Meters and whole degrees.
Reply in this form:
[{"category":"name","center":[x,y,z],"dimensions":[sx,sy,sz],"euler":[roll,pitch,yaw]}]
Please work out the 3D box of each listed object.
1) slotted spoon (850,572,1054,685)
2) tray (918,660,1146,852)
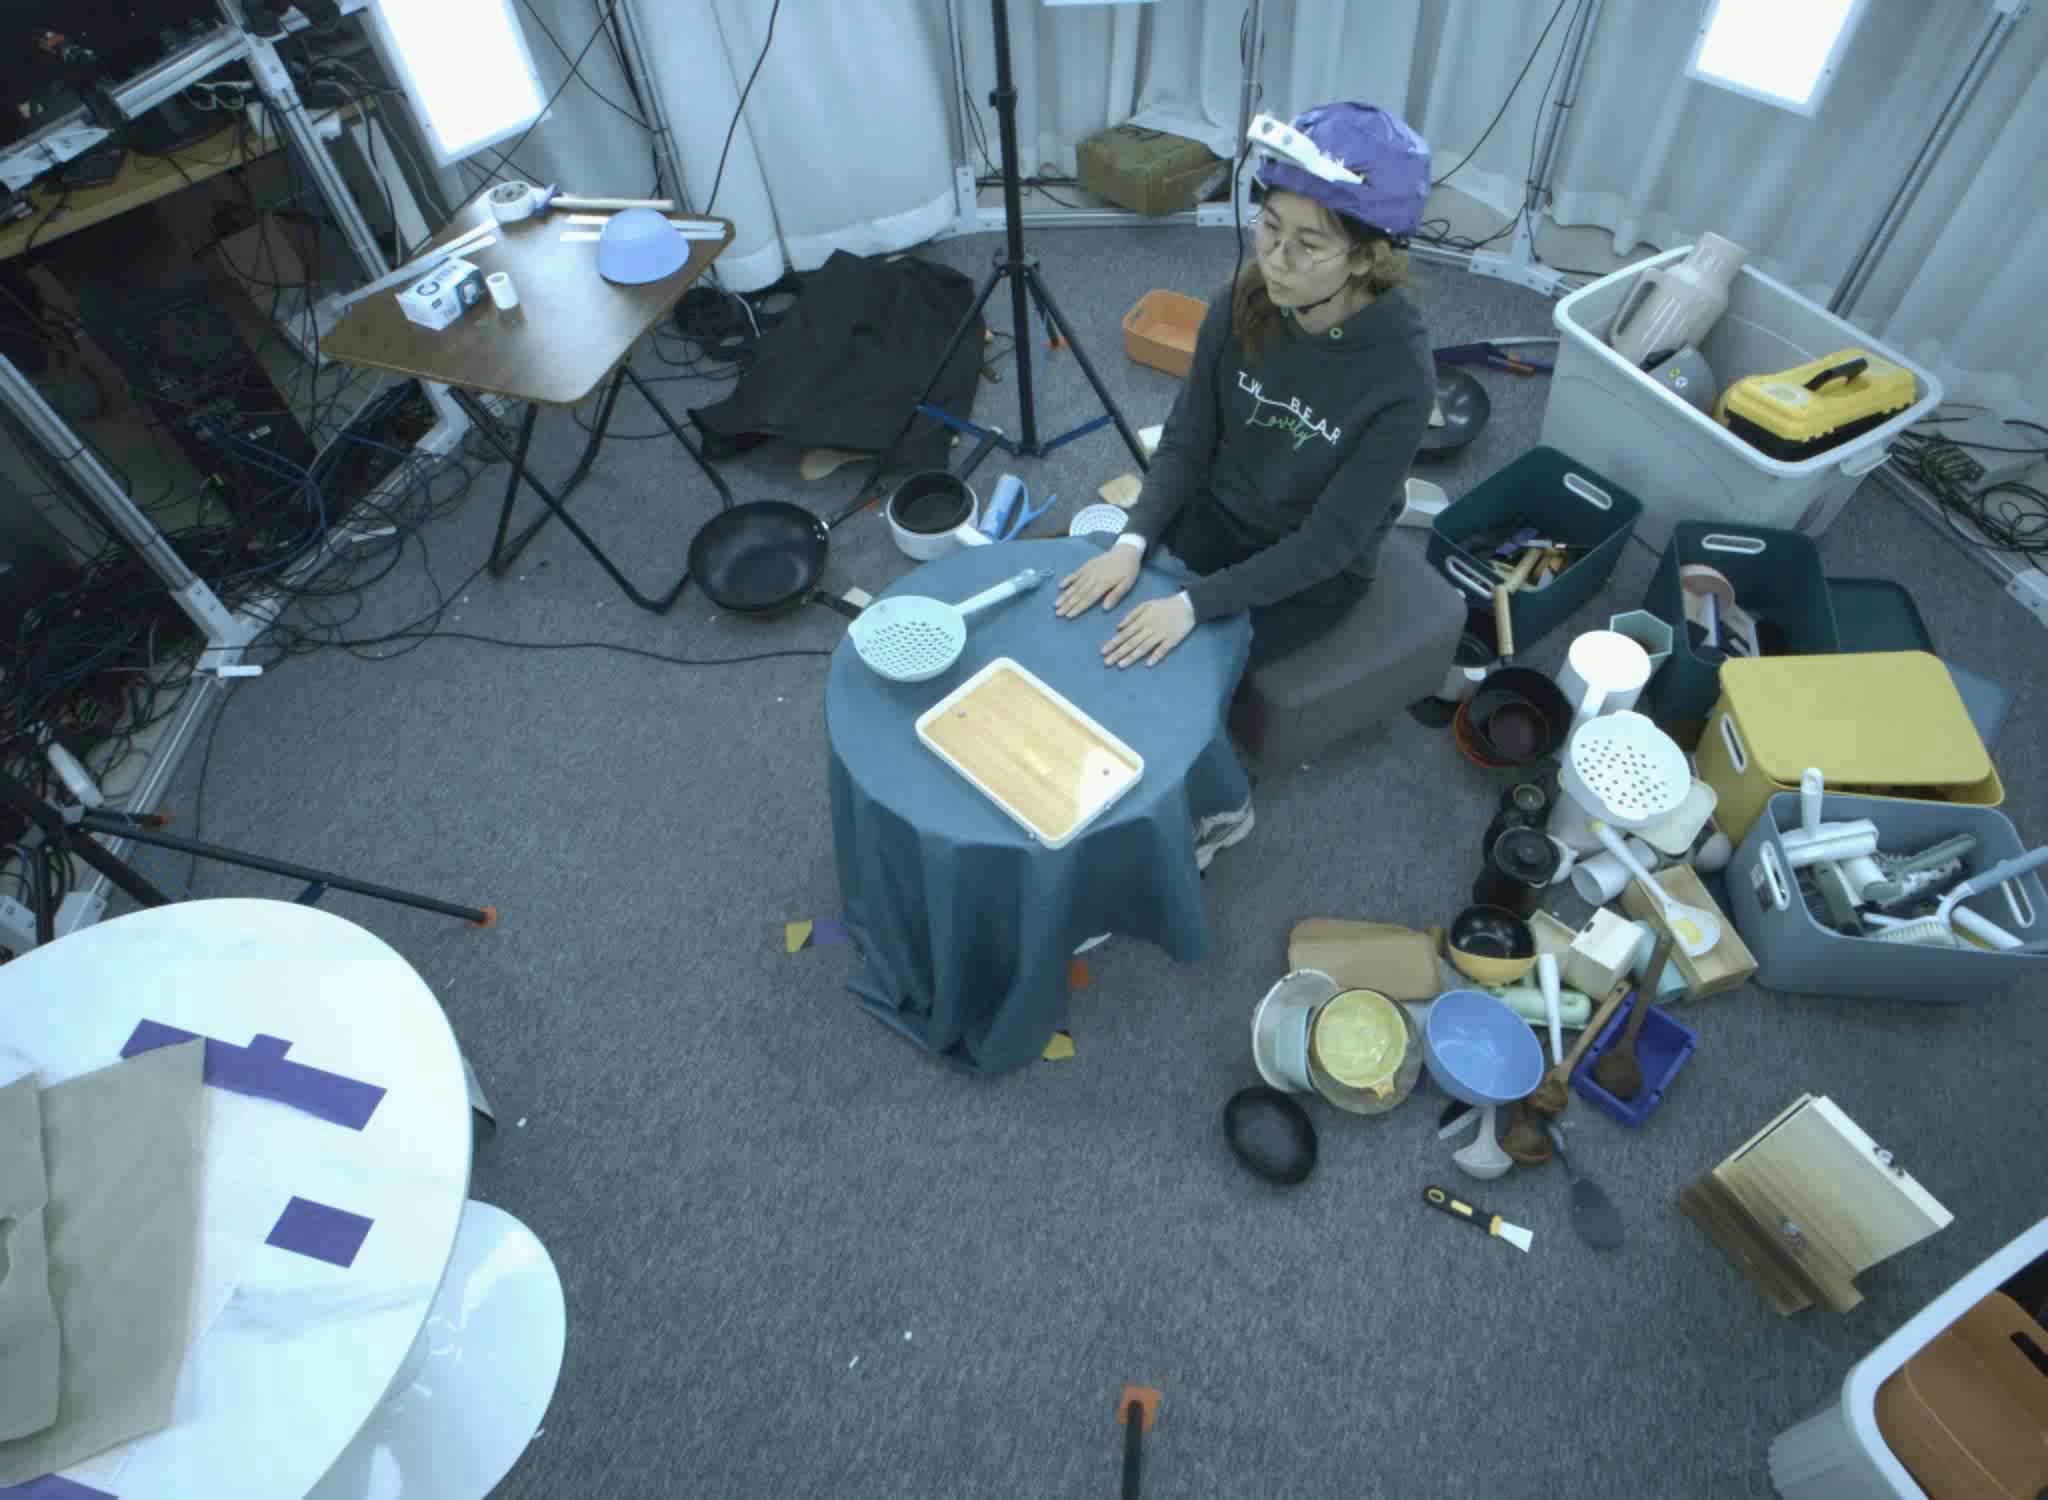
[{"category":"slotted spoon","center":[-0.096,-0.207,1.907],"dimensions":[0.361,0.076,0.166],"euler":[-35,61,-21]},{"category":"tray","center":[0.009,0.003,1.779],"dimensions":[0.193,0.028,0.295],"euler":[-39,63,-23]}]
